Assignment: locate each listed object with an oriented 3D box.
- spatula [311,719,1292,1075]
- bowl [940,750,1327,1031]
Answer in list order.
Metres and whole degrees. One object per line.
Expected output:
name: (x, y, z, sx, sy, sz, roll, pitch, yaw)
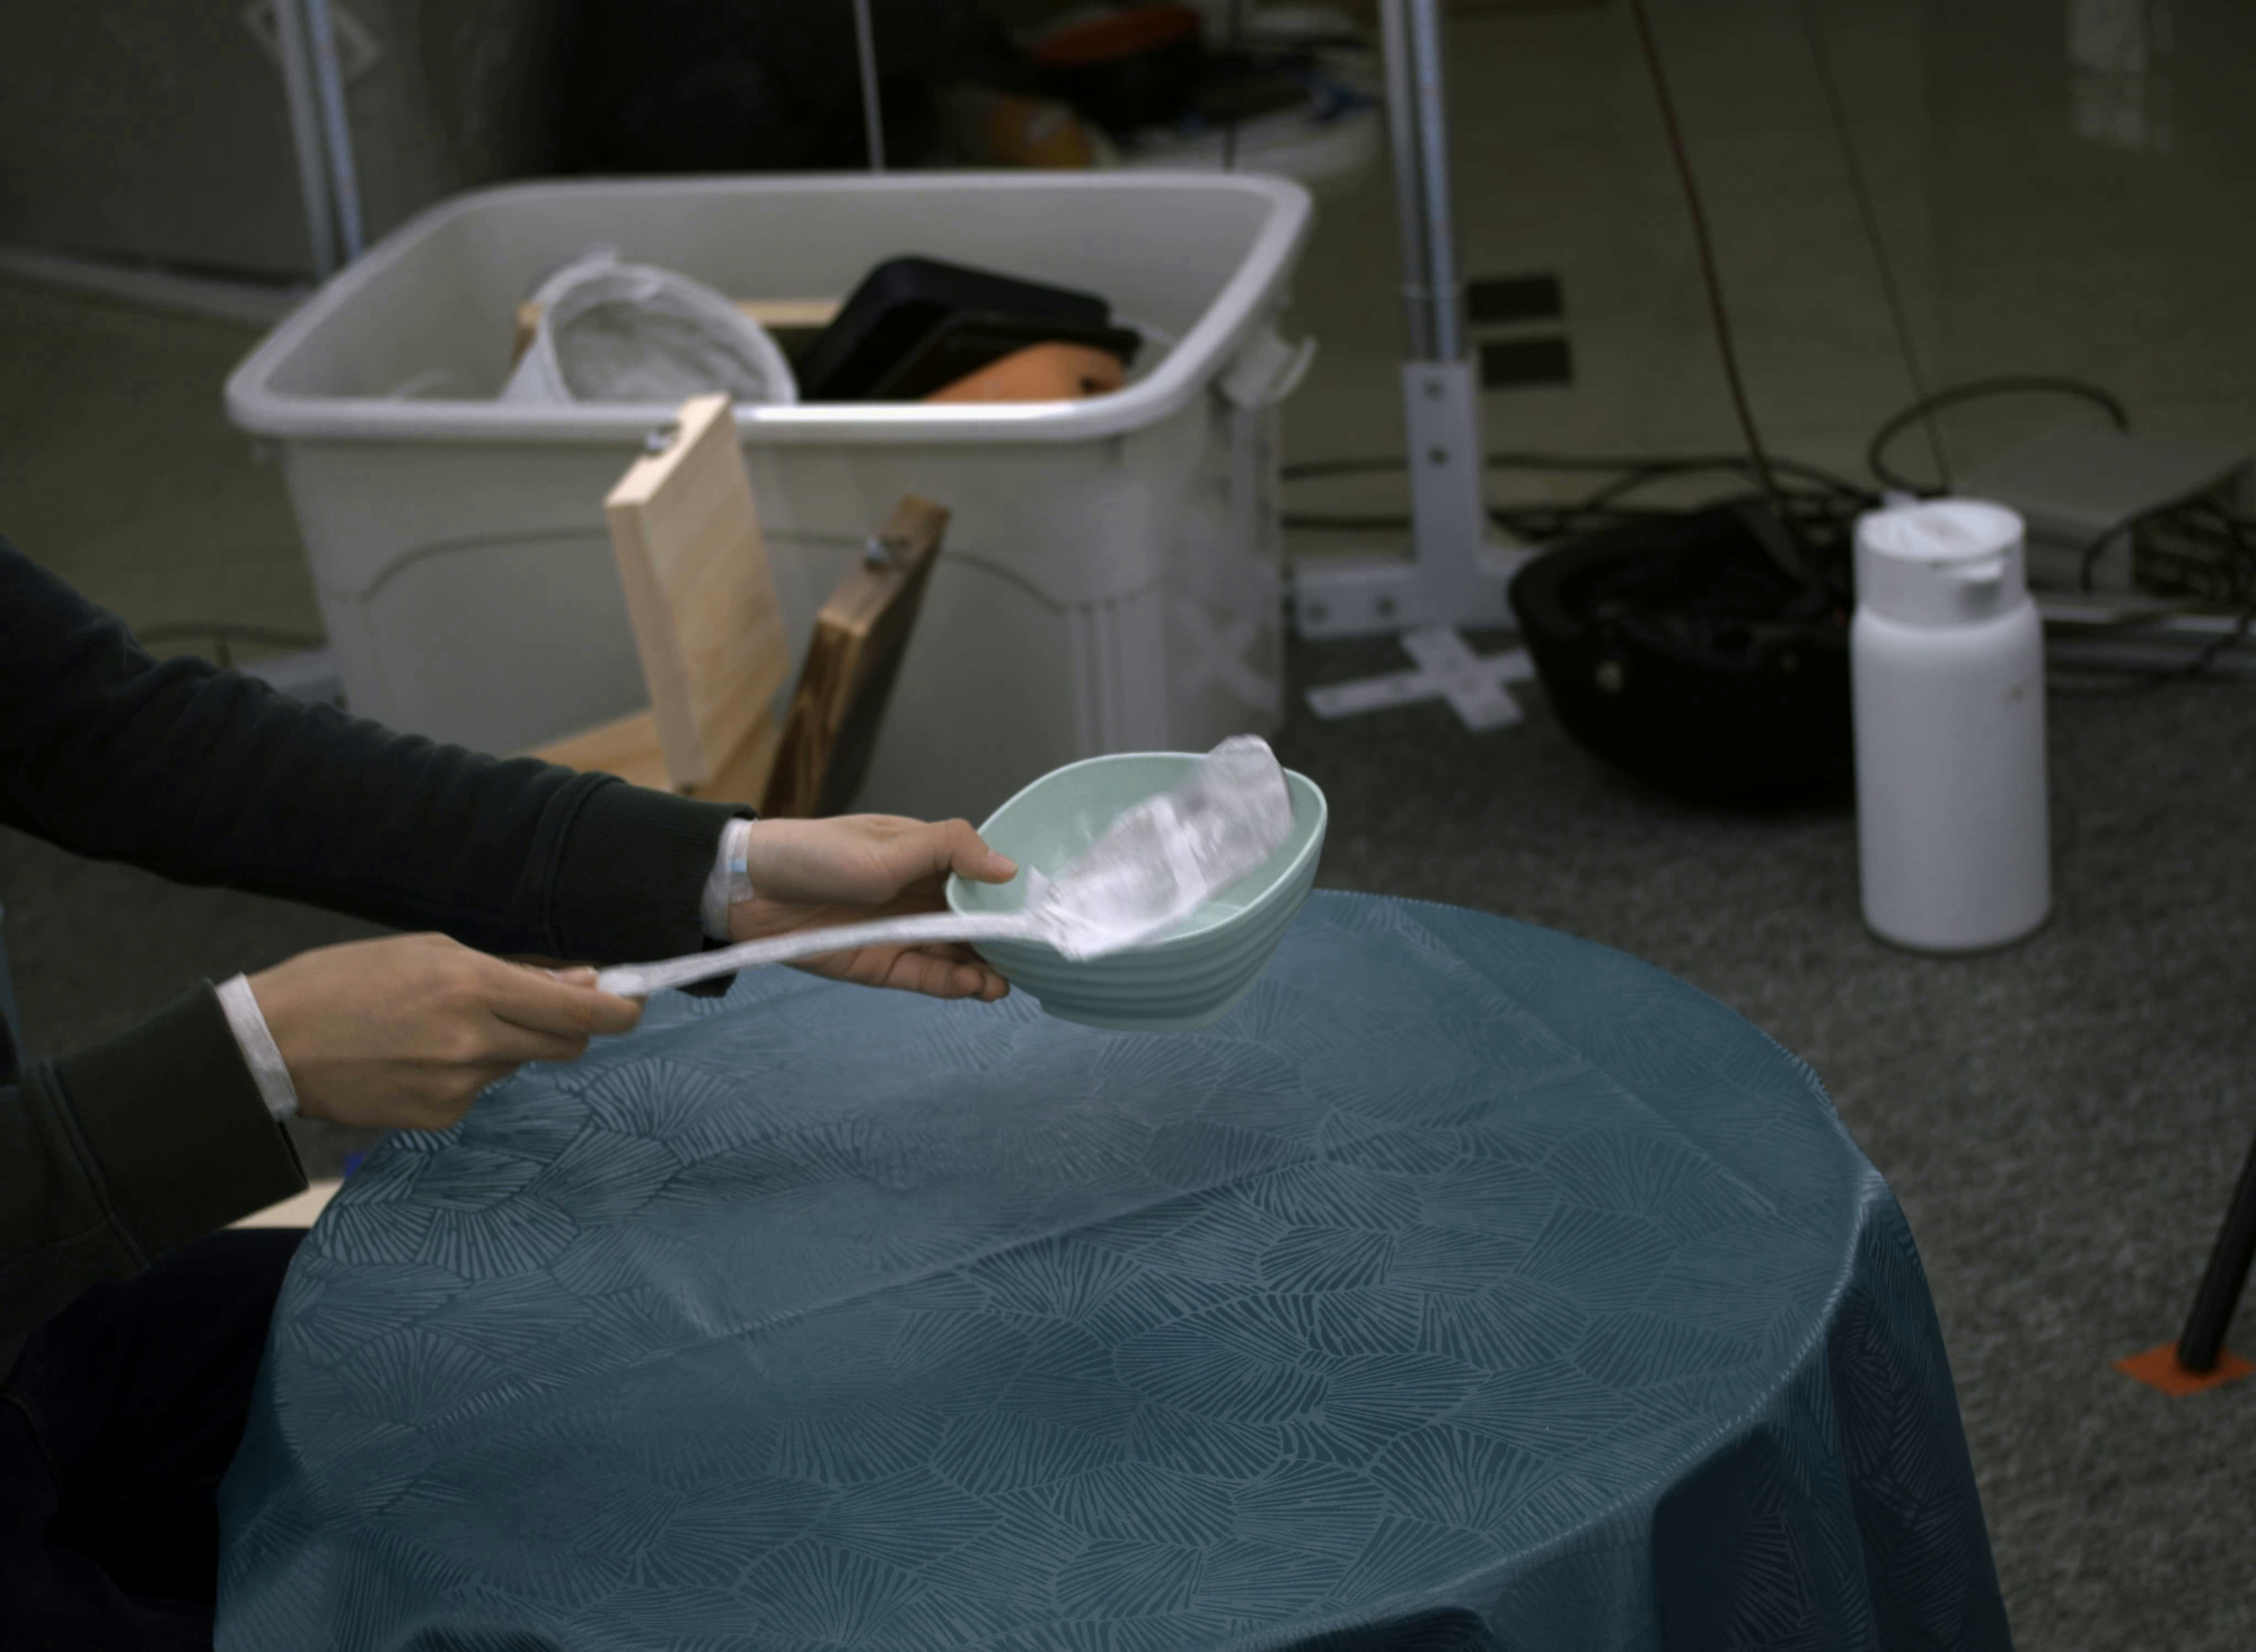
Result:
spatula: (-0.118, 0.035, 2.001, 0.364, 0.045, 0.097, -12, 30, 1)
bowl: (0.005, 0.031, 2.170, 0.151, 0.060, 0.149, -4, 30, 3)
